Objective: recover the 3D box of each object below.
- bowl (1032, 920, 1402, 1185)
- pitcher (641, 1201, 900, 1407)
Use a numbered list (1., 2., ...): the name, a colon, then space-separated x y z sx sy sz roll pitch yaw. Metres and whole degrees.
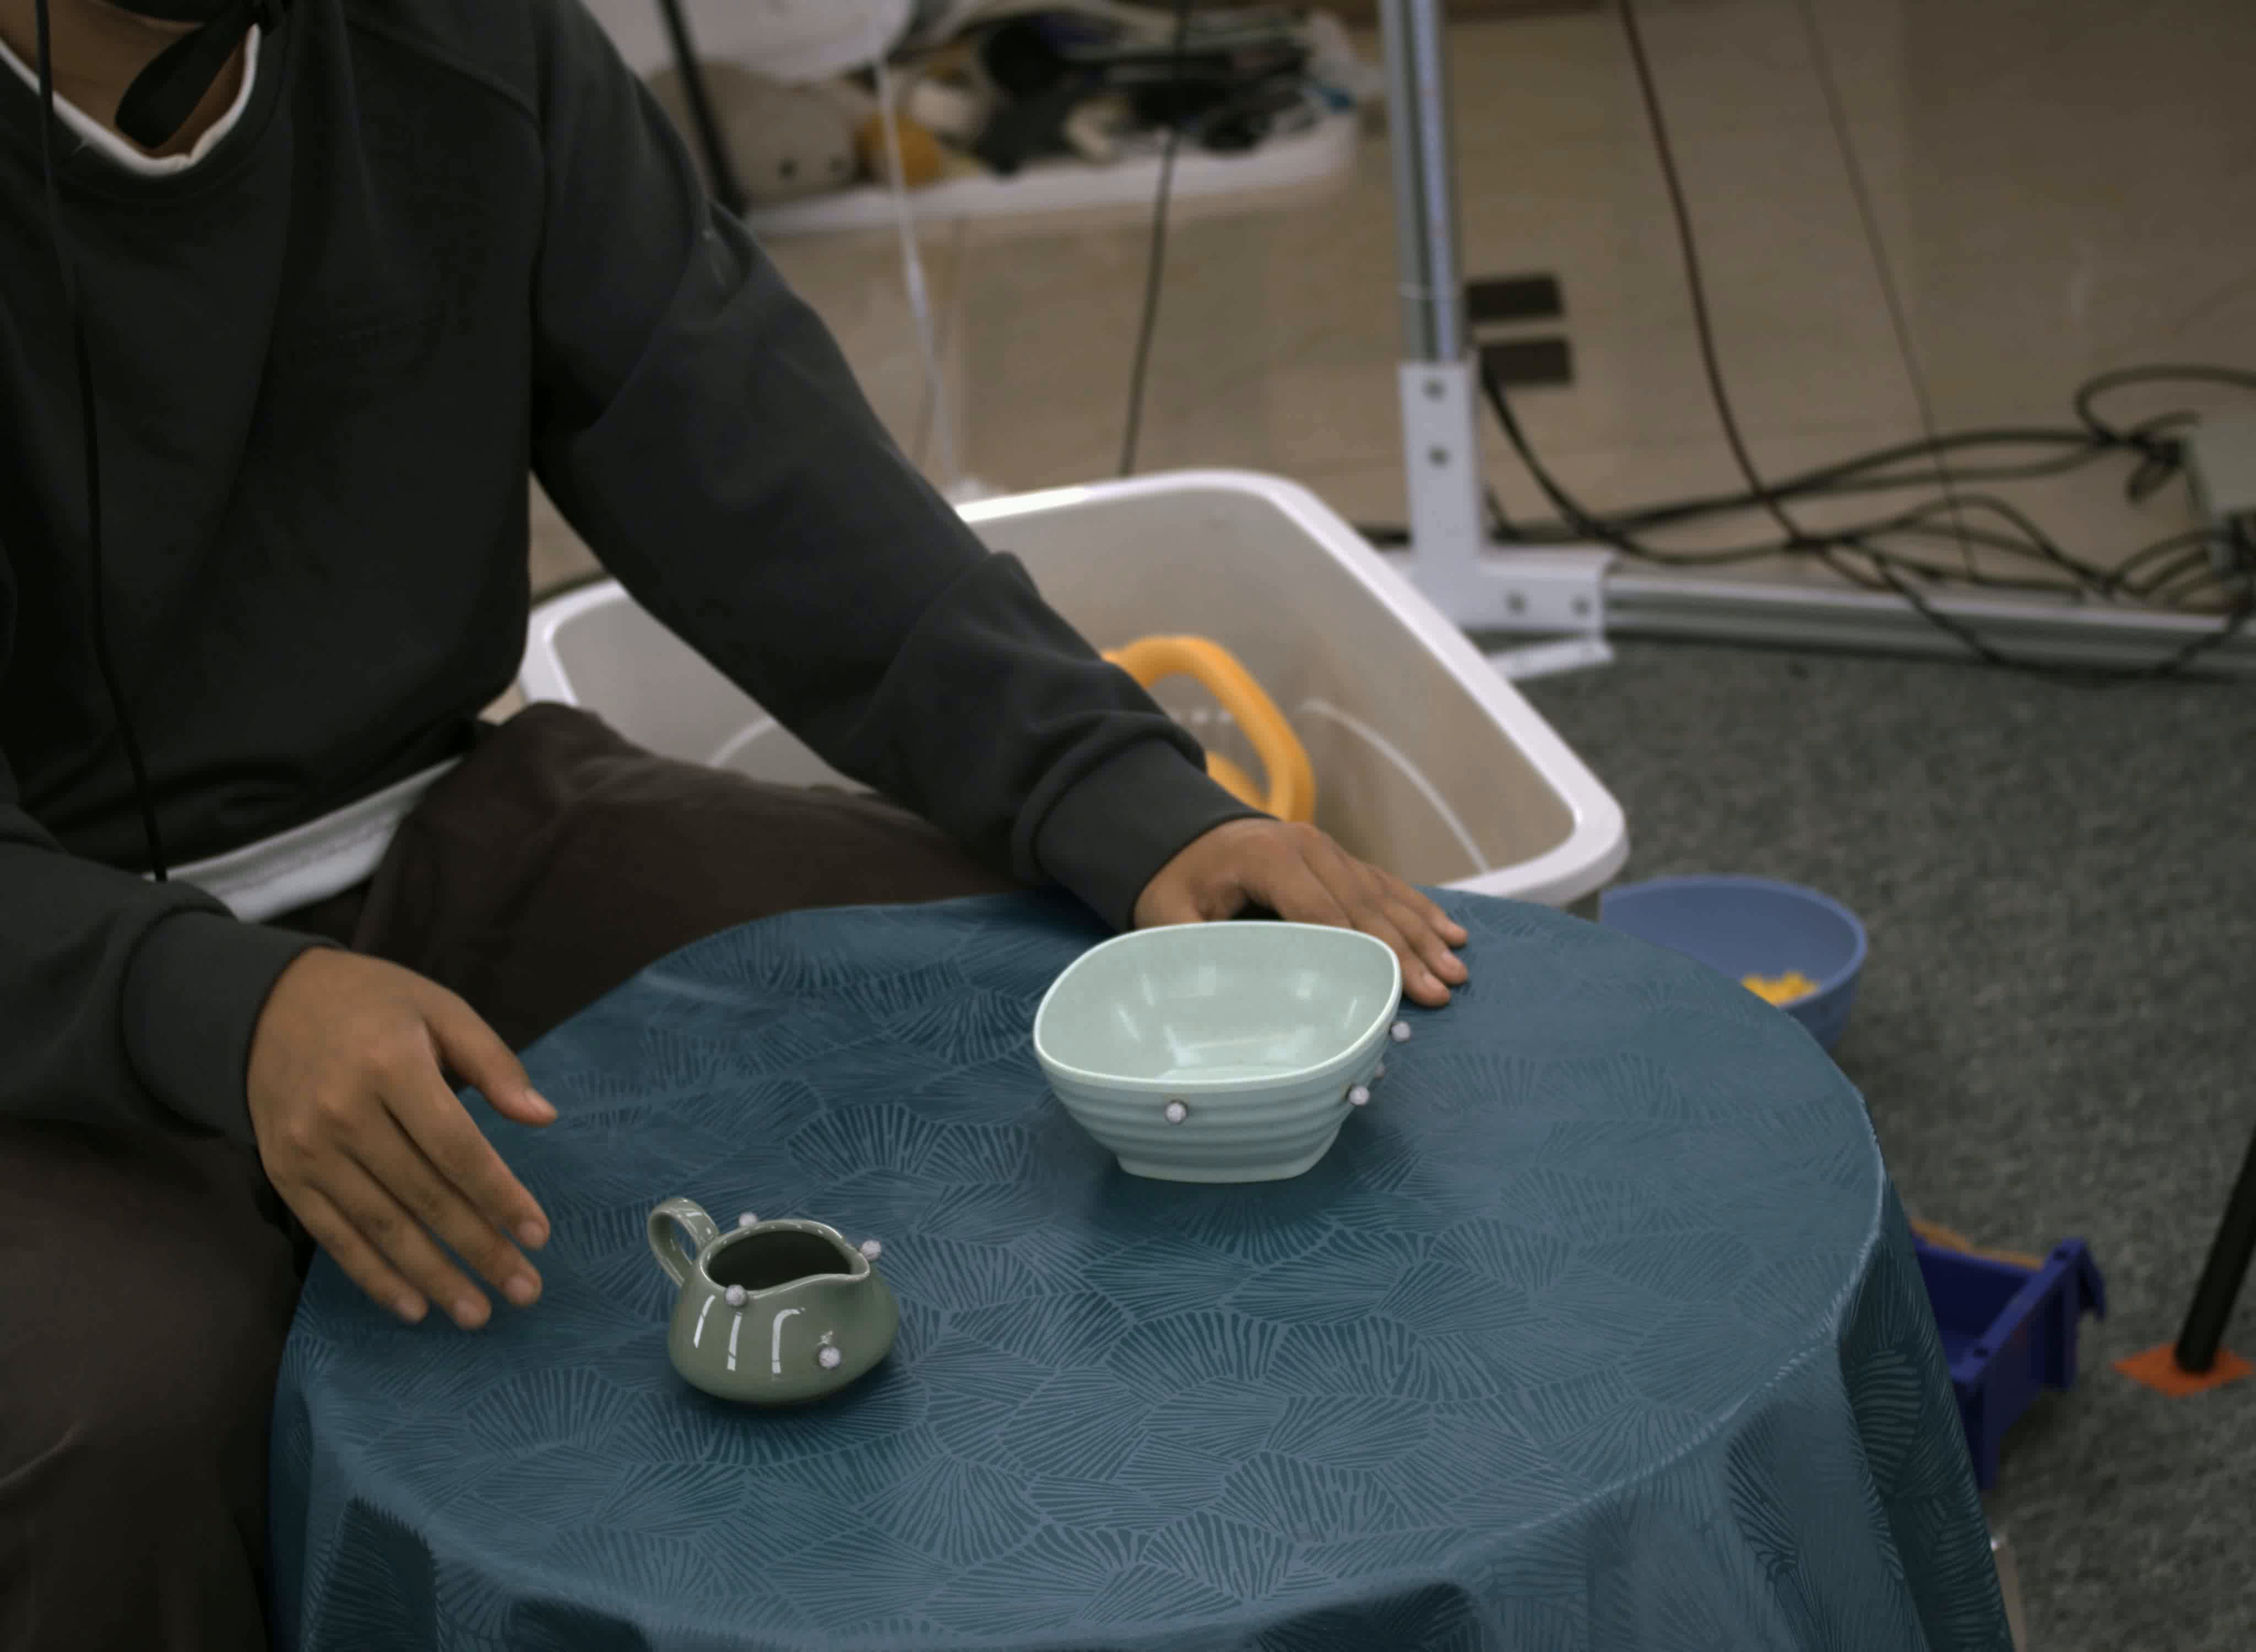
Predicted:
1. bowl: 0.036 0.092 2.174 0.151 0.059 0.149 -4 25 2
2. pitcher: -0.130 0.171 2.045 0.112 0.057 0.083 14 31 39
